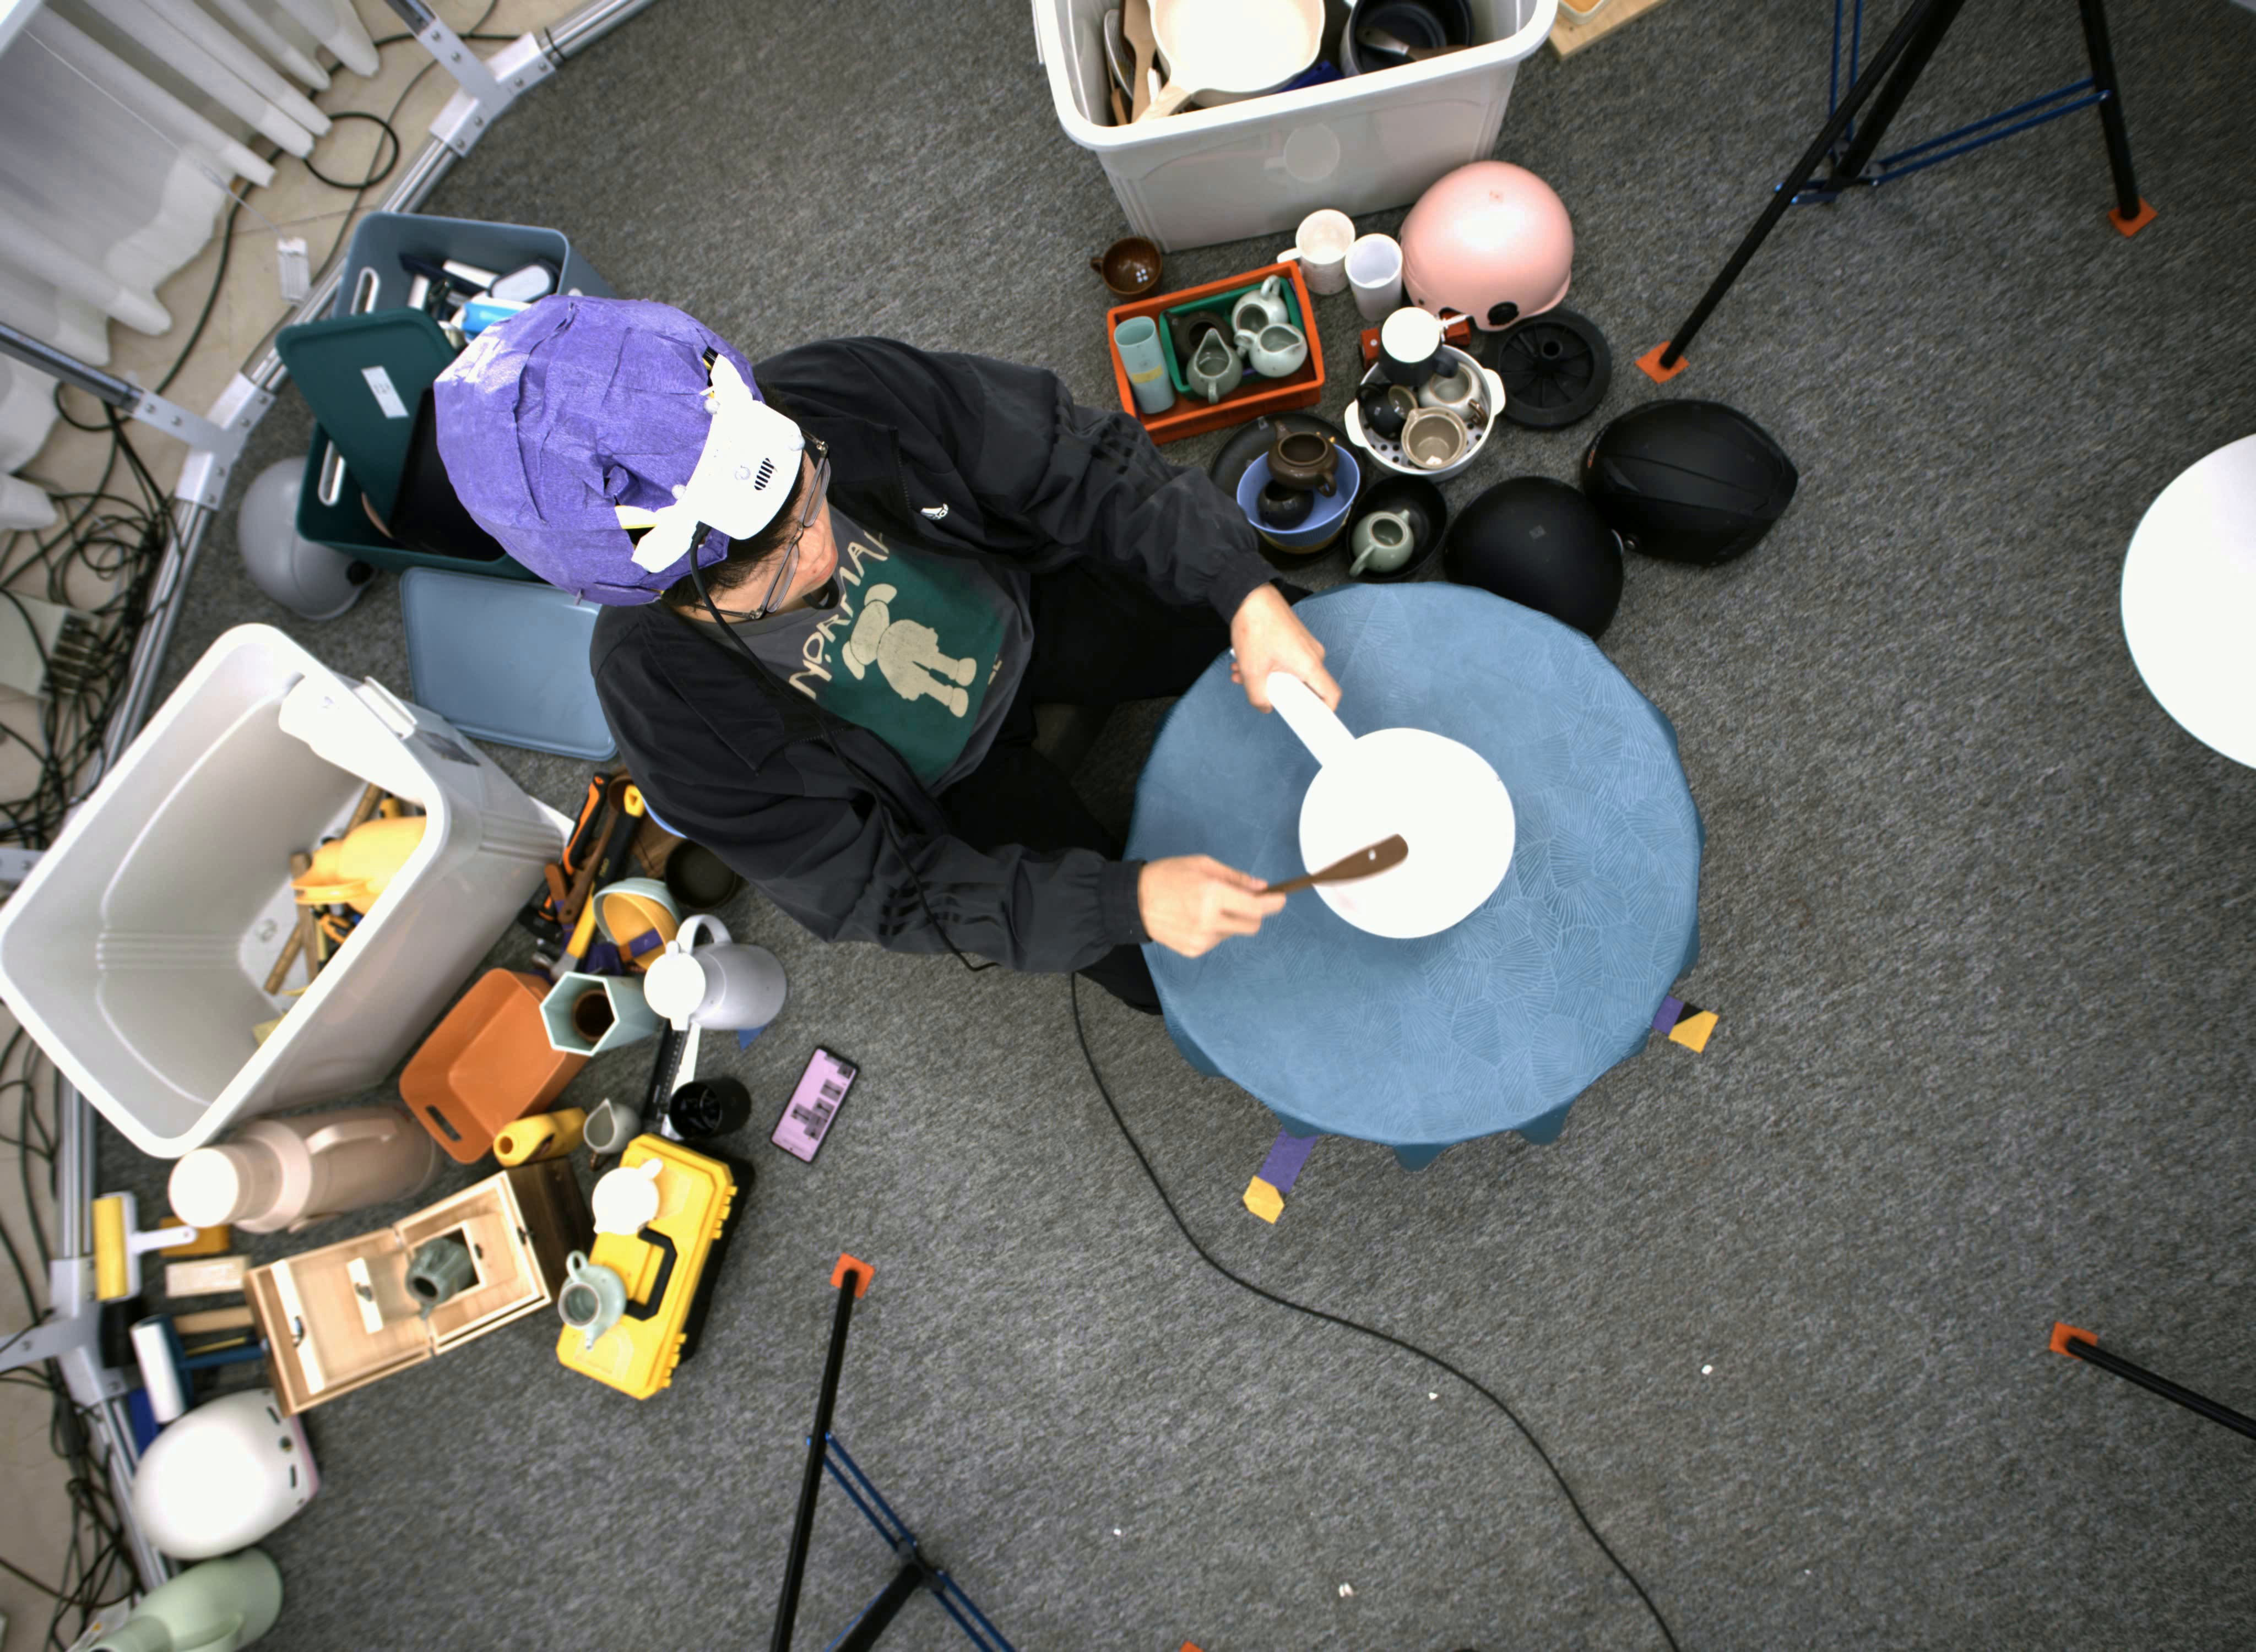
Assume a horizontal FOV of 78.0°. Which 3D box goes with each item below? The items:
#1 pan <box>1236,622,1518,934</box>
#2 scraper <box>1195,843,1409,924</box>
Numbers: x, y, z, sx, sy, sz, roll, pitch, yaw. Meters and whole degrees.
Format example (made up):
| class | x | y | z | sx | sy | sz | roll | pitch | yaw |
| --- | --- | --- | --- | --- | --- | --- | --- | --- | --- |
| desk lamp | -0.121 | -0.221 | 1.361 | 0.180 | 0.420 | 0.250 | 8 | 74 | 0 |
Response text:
| class | x | y | z | sx | sy | sz | roll | pitch | yaw |
| --- | --- | --- | --- | --- | --- | --- | --- | --- | --- |
| pan | 0.241 | -0.058 | 1.384 | 0.205 | 0.101 | 0.352 | -43 | 75 | 25 |
| scraper | 0.164 | 0.059 | 1.311 | 0.213 | 0.074 | 0.011 | -17 | 111 | 14 |
